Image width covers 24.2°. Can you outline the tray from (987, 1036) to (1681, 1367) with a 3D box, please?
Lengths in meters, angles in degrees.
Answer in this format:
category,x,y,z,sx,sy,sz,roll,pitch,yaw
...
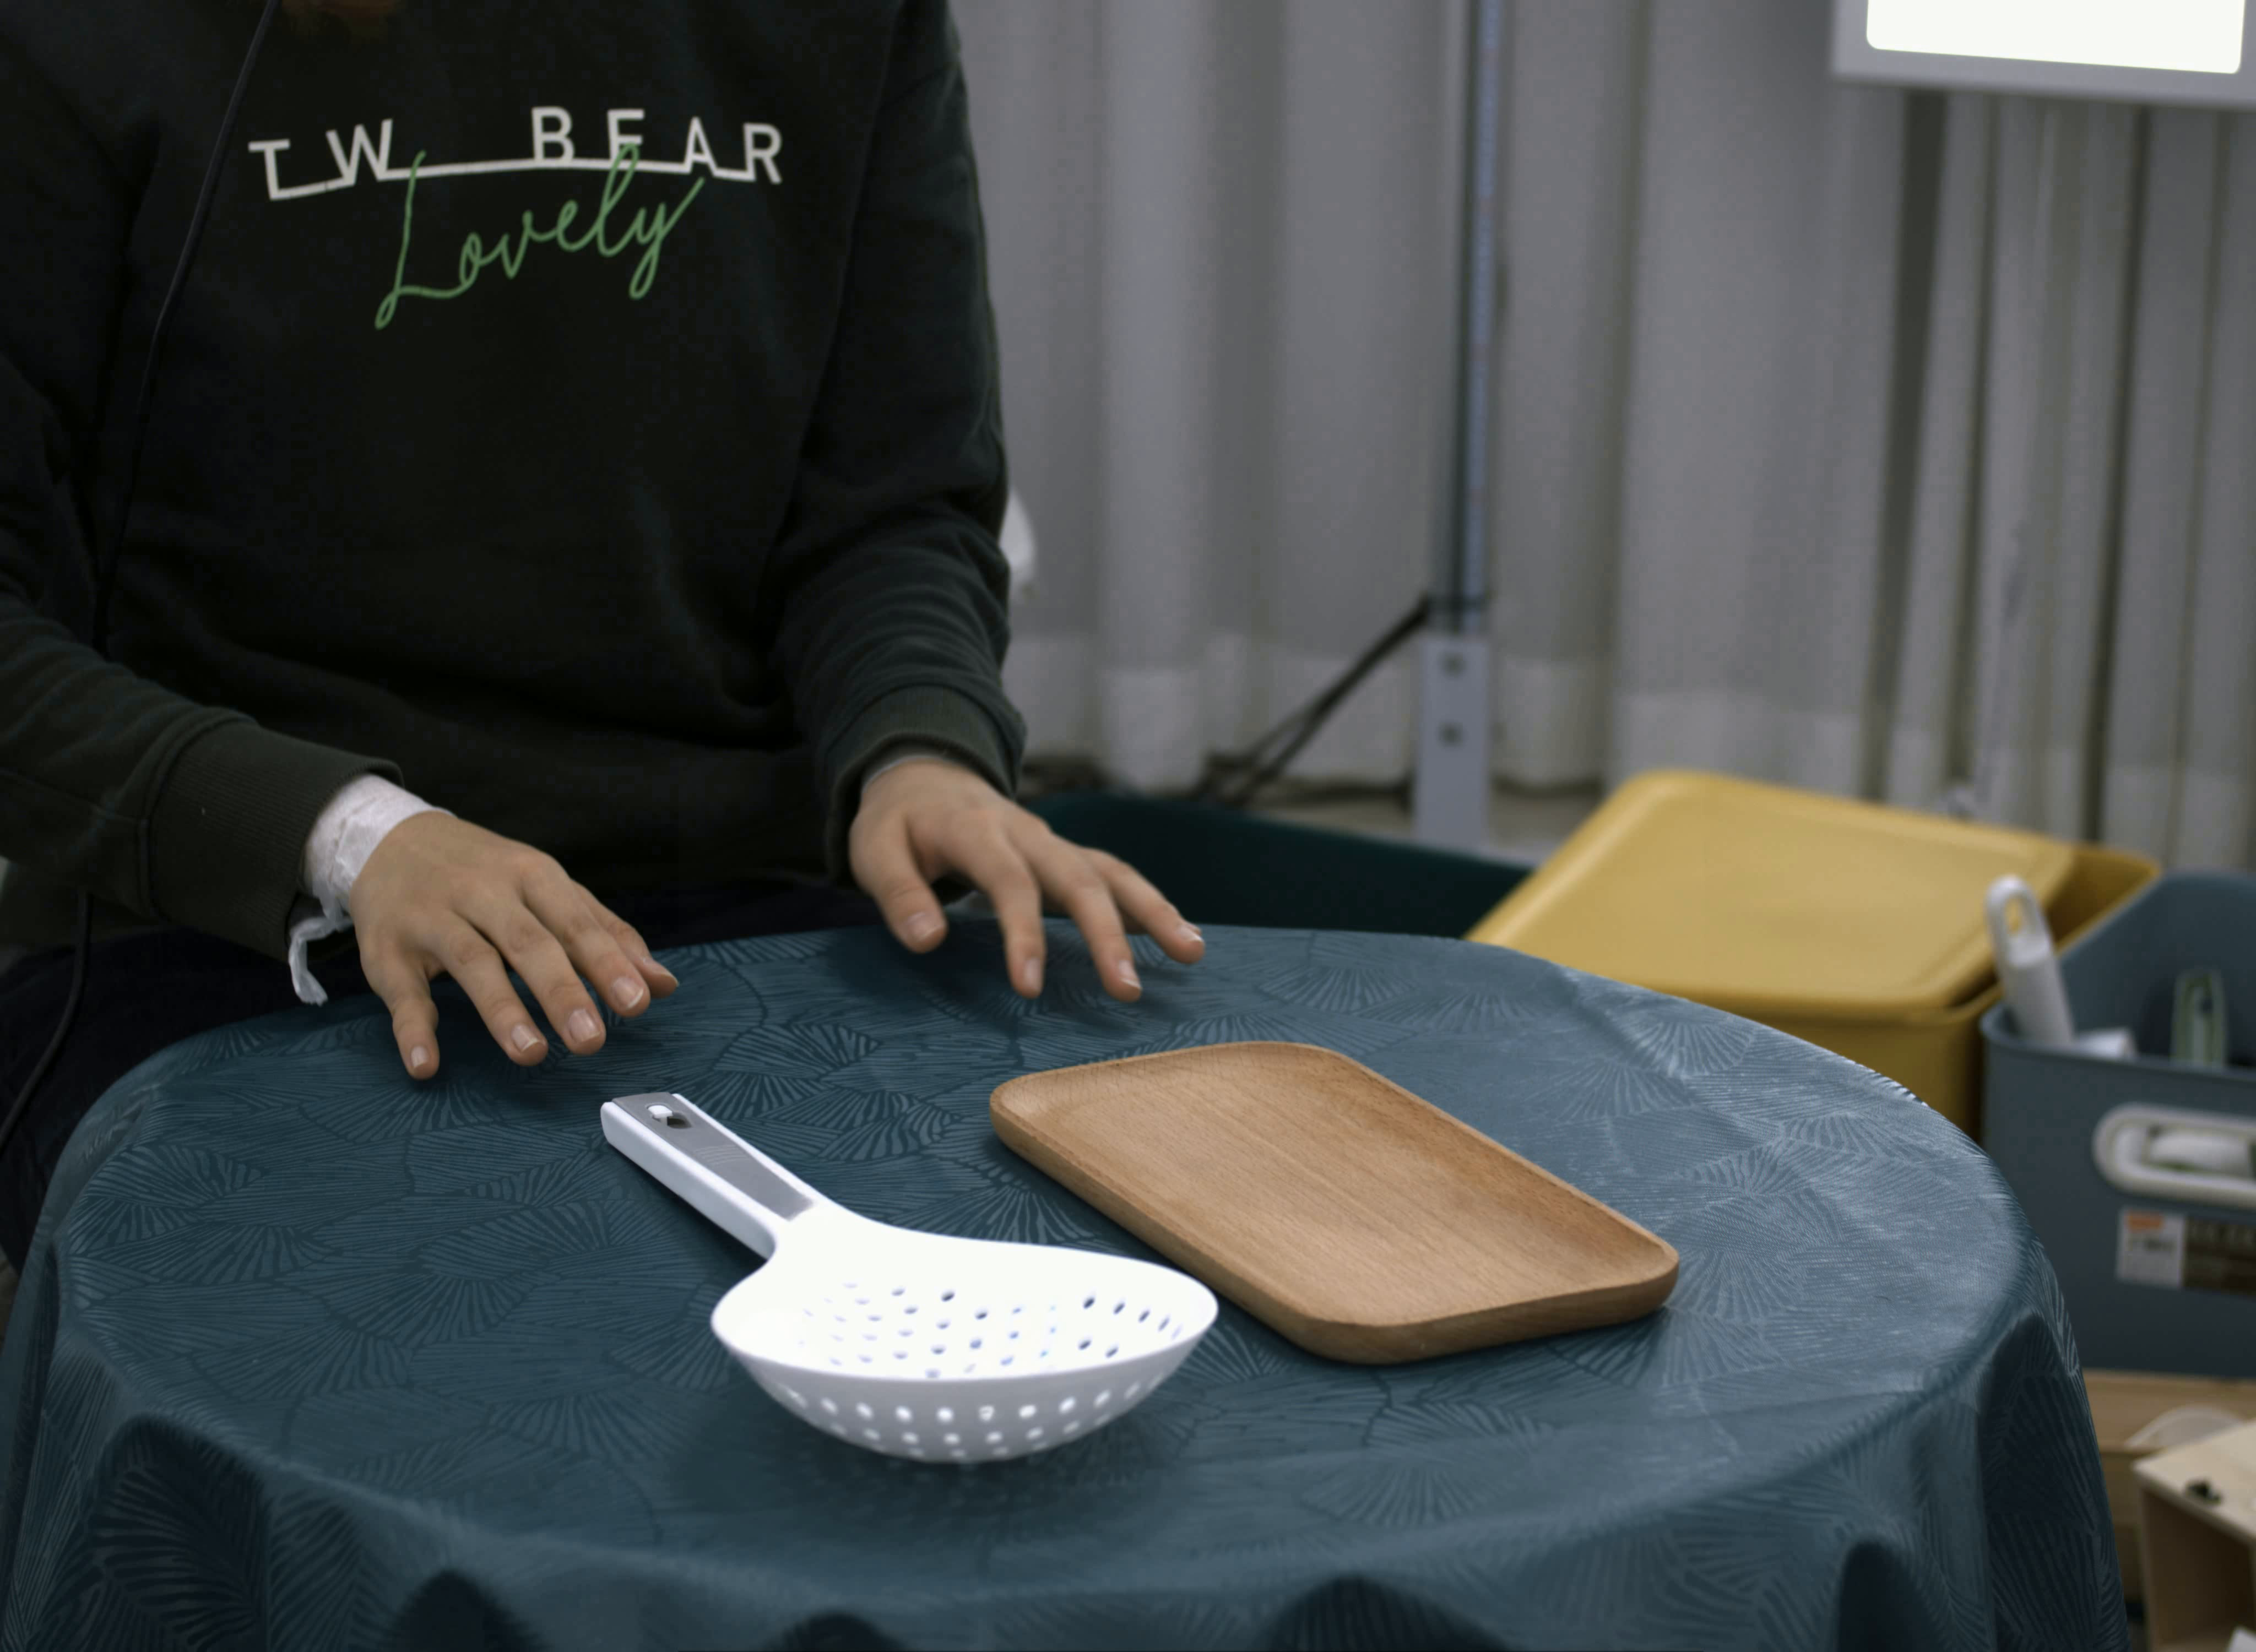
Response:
category,x,y,z,sx,sy,sz,roll,pitch,yaw
tray,0.058,0.111,1.603,0.131,0.023,0.247,-5,16,-26

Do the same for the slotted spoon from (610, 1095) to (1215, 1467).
category,x,y,z,sx,sy,sz,roll,pitch,yaw
slotted spoon,-0.086,0.121,1.511,0.136,0.046,0.345,-4,15,-23
